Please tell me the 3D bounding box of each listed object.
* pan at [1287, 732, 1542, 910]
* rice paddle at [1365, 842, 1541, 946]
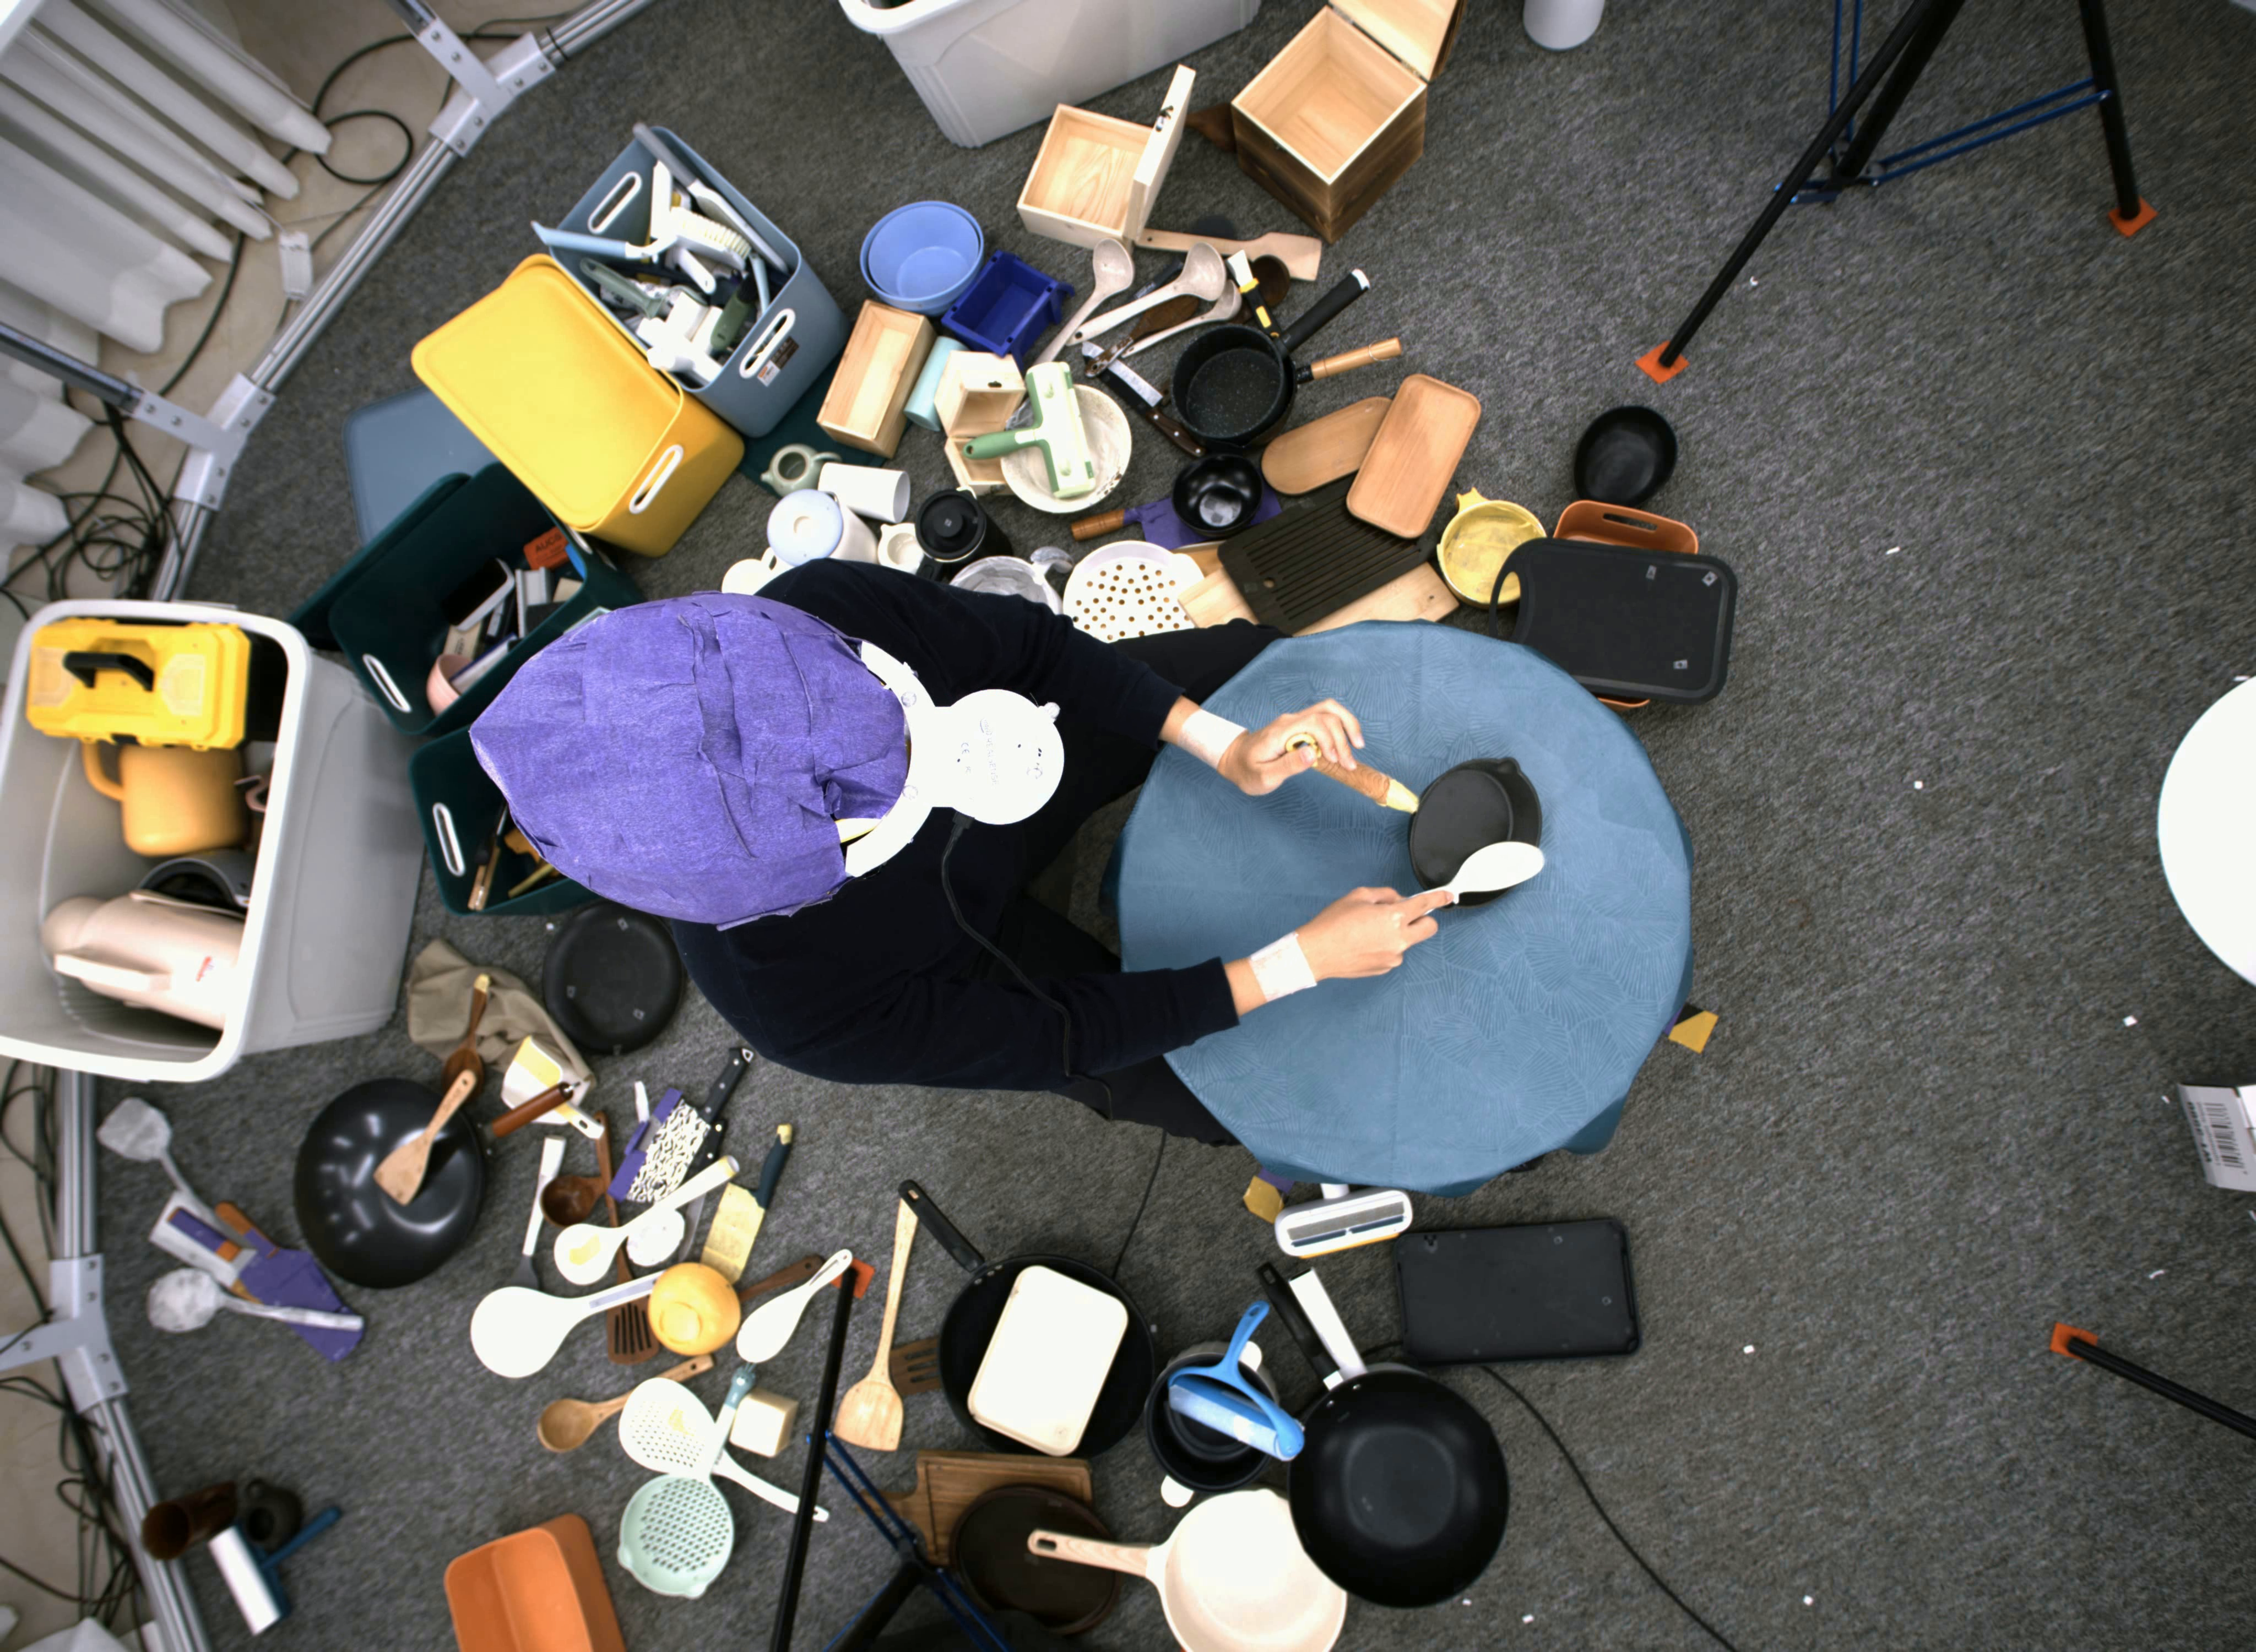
[{"bbox_3d":[0.280,-0.027,1.357,0.325,0.049,0.169,25,95,-26],"label":"pan"},{"bbox_3d":[0.330,0.061,1.386,0.203,0.068,0.030,-25,126,-16],"label":"rice paddle"}]
